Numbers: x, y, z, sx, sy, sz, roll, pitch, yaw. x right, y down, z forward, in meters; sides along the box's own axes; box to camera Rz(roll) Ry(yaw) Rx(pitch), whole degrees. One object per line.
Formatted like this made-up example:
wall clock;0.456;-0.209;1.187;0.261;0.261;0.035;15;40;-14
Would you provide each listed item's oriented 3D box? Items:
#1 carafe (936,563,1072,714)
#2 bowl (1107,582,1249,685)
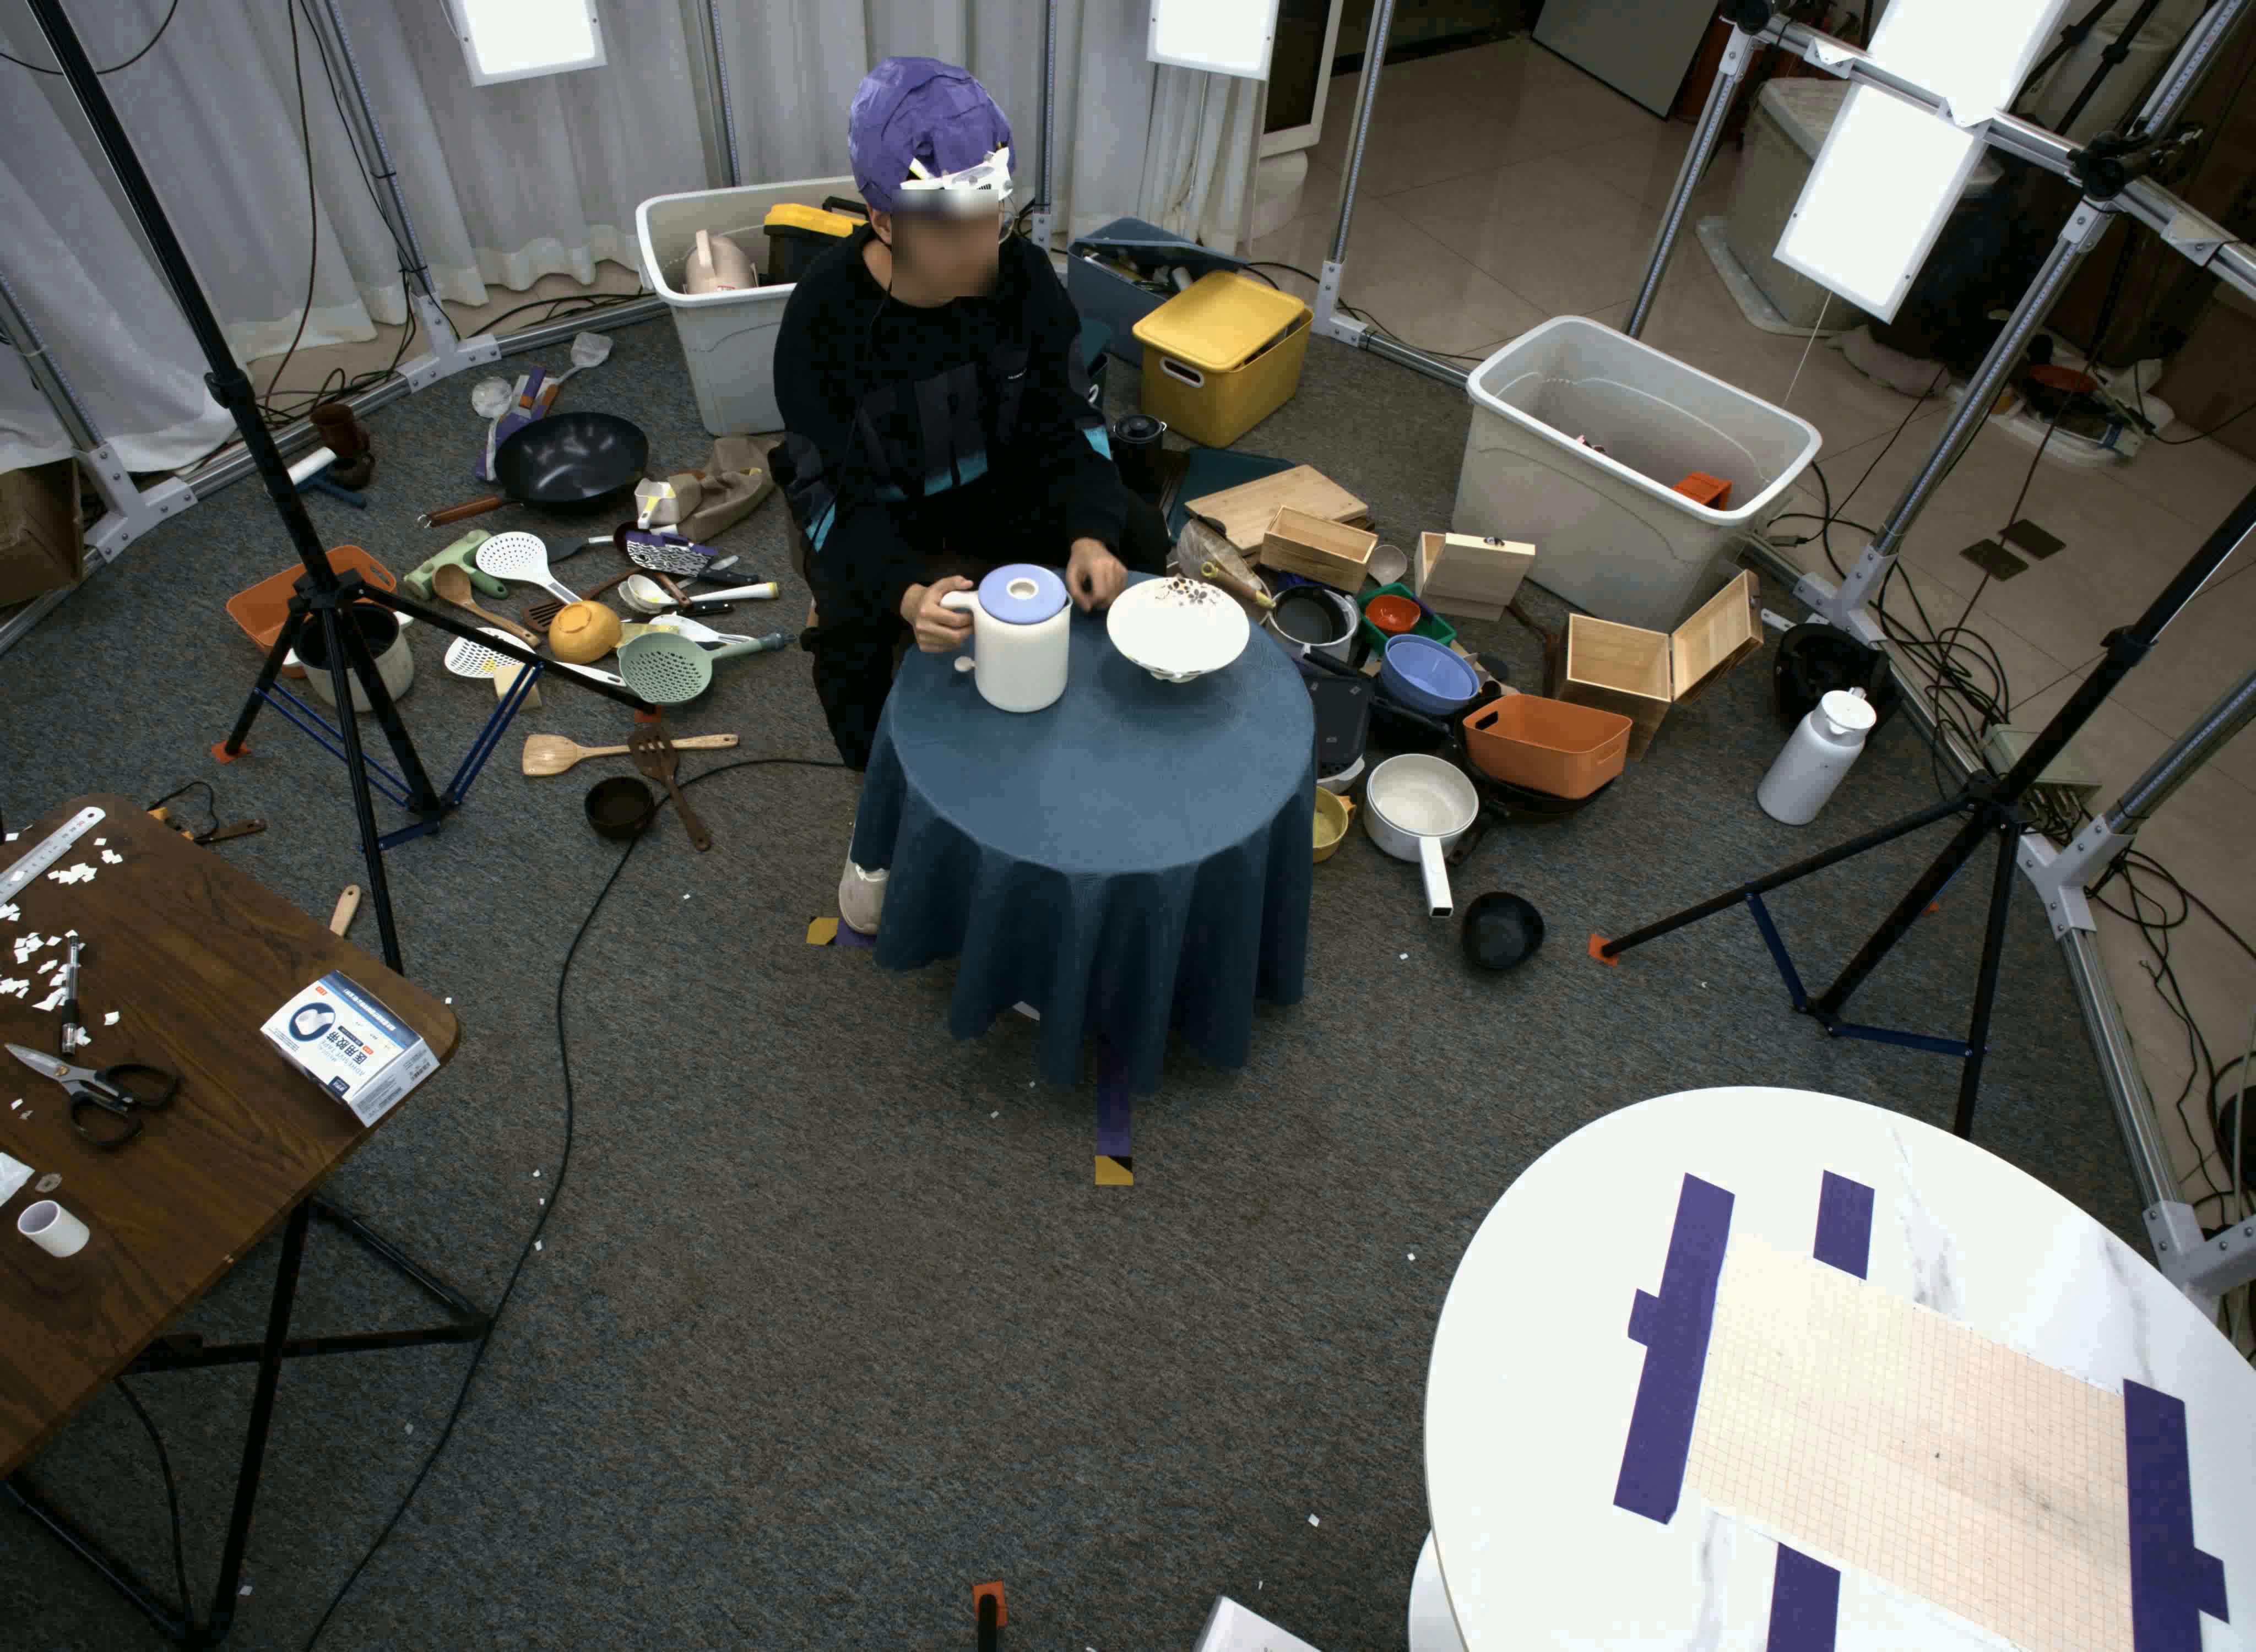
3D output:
carafe;-0.170;-0.260;1.773;0.191;0.178;0.135;5;48;4
bowl;0.070;-0.261;1.850;0.204;0.076;0.209;1;46;-2
